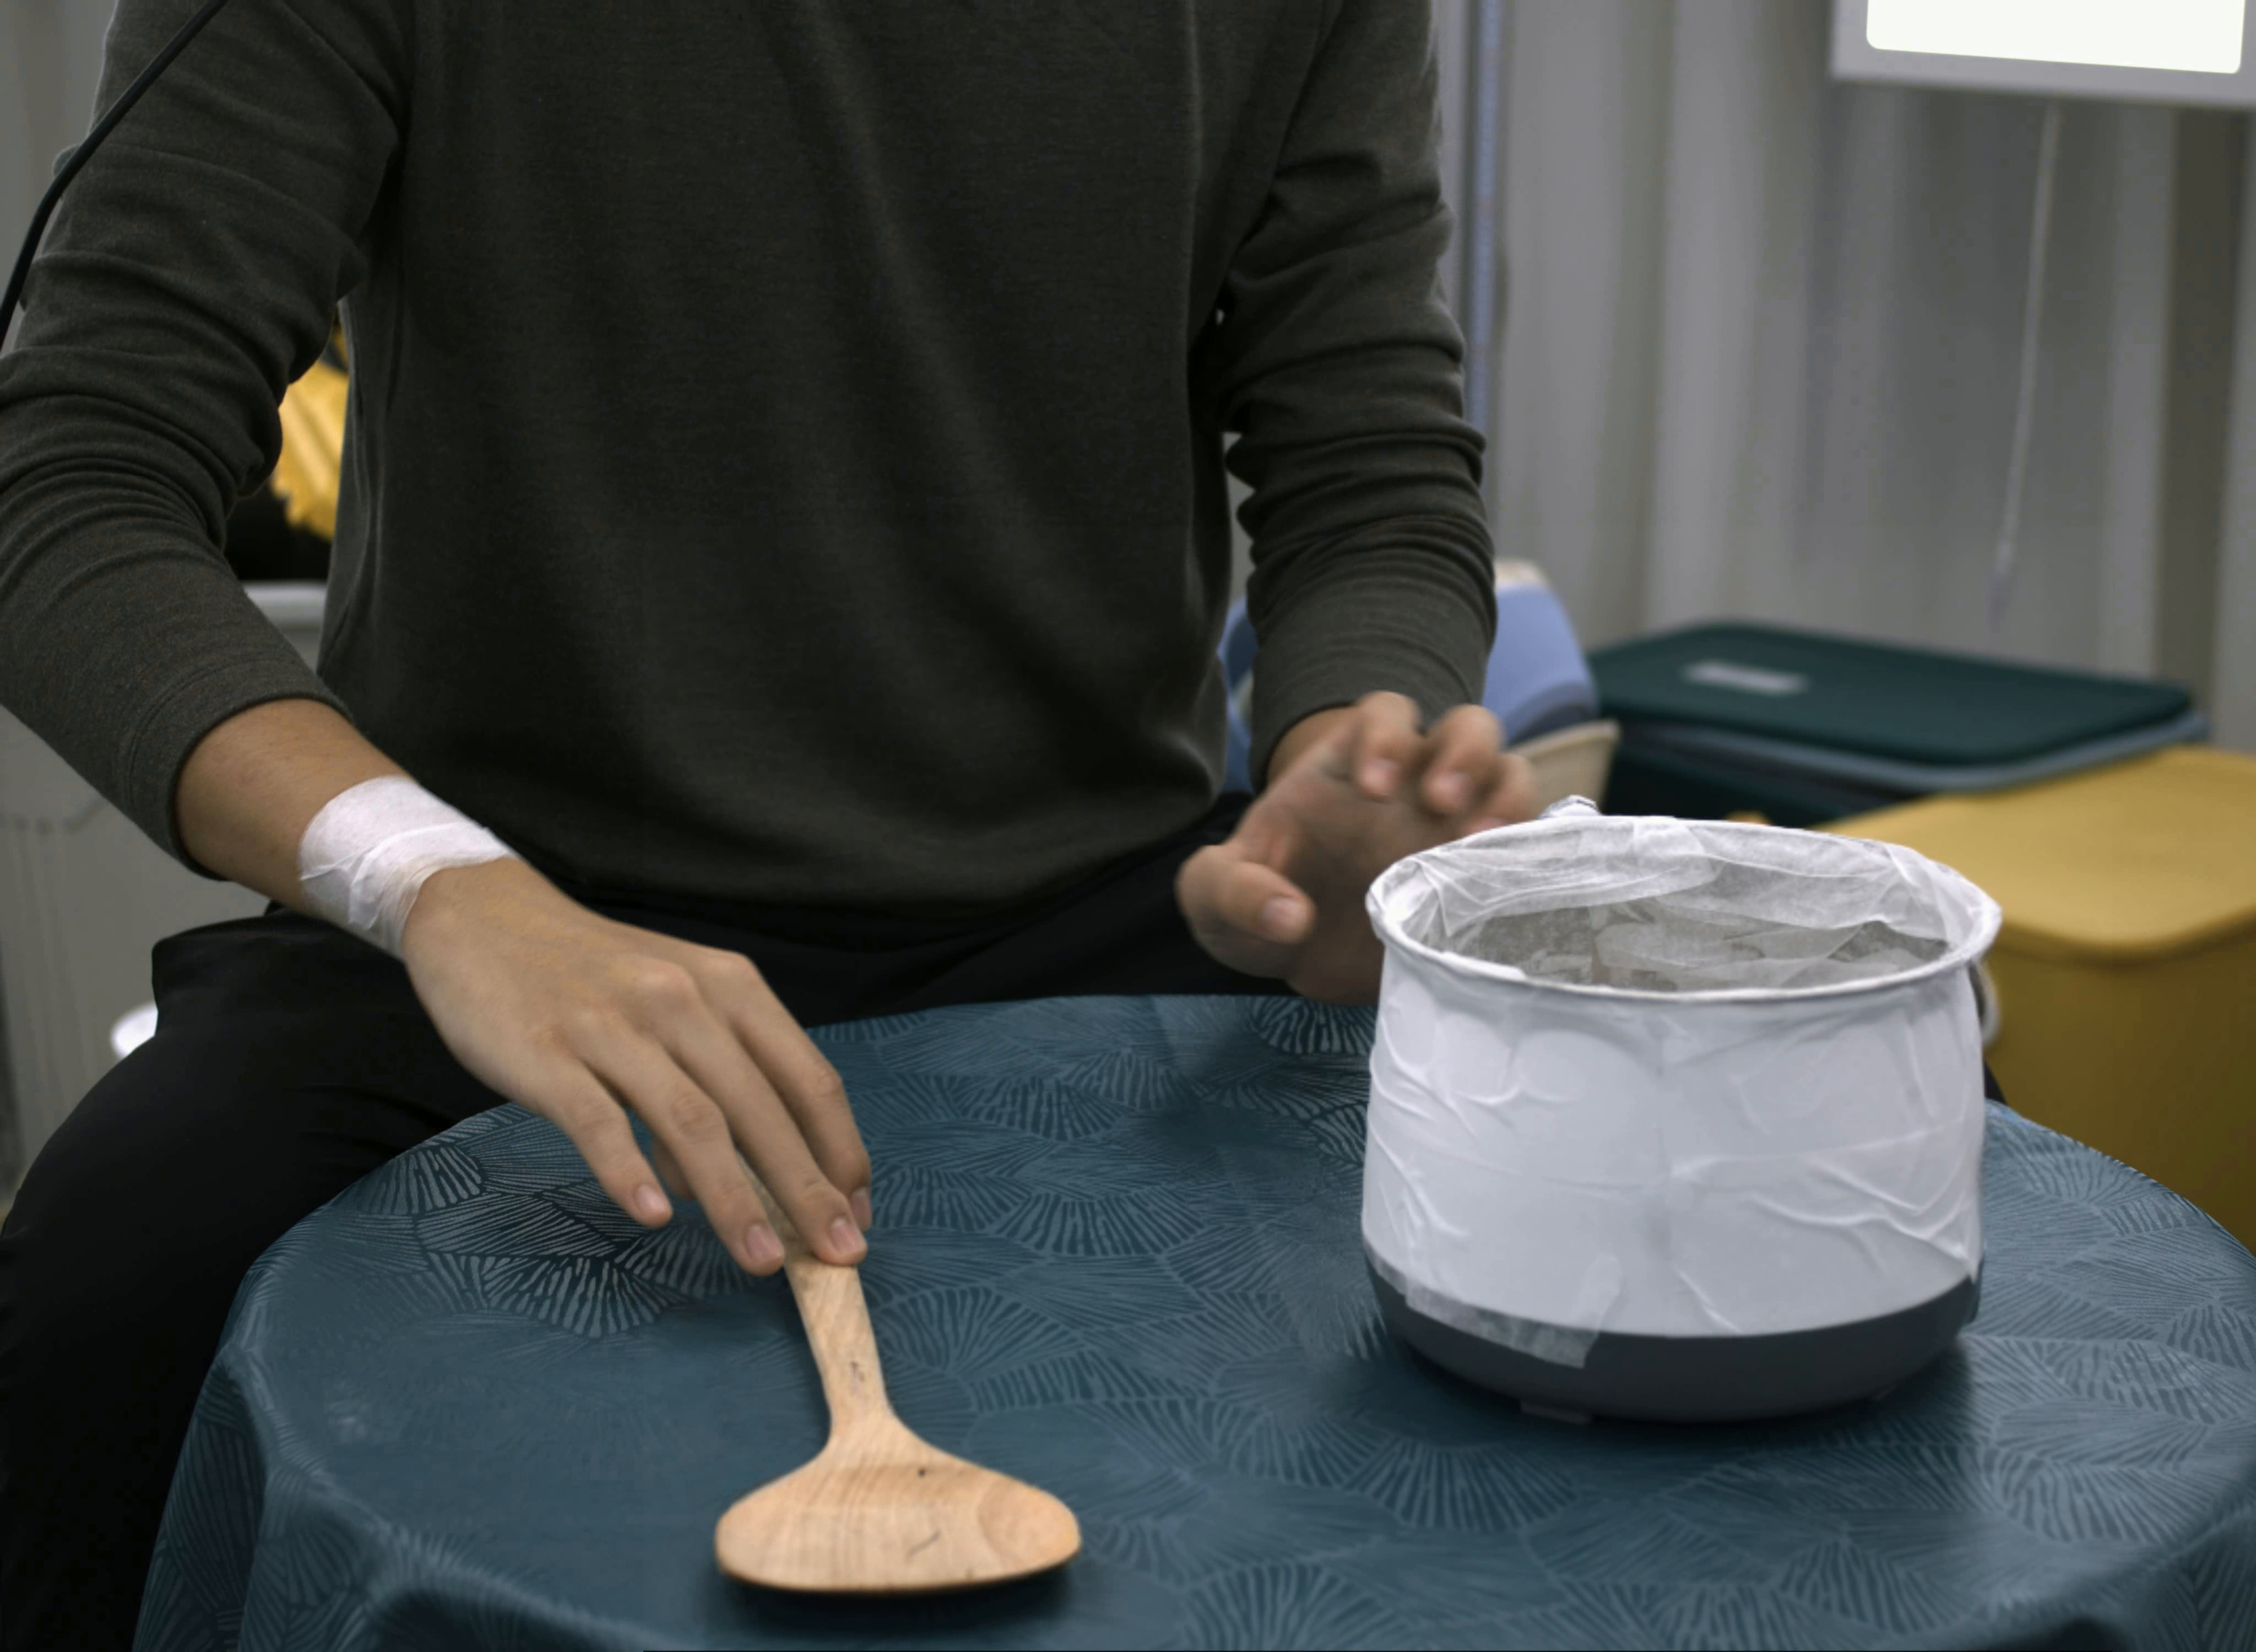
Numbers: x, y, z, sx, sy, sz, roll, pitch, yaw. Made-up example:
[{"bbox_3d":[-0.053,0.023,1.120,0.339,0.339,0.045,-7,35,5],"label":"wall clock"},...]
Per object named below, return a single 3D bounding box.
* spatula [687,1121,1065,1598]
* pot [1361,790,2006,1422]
[{"bbox_3d":[-0.088,0.143,1.479,0.096,0.018,0.387,0,15,-9],"label":"spatula"},{"bbox_3d":[0.147,0.074,1.508,0.179,0.138,0.231,-3,16,-14],"label":"pot"}]
